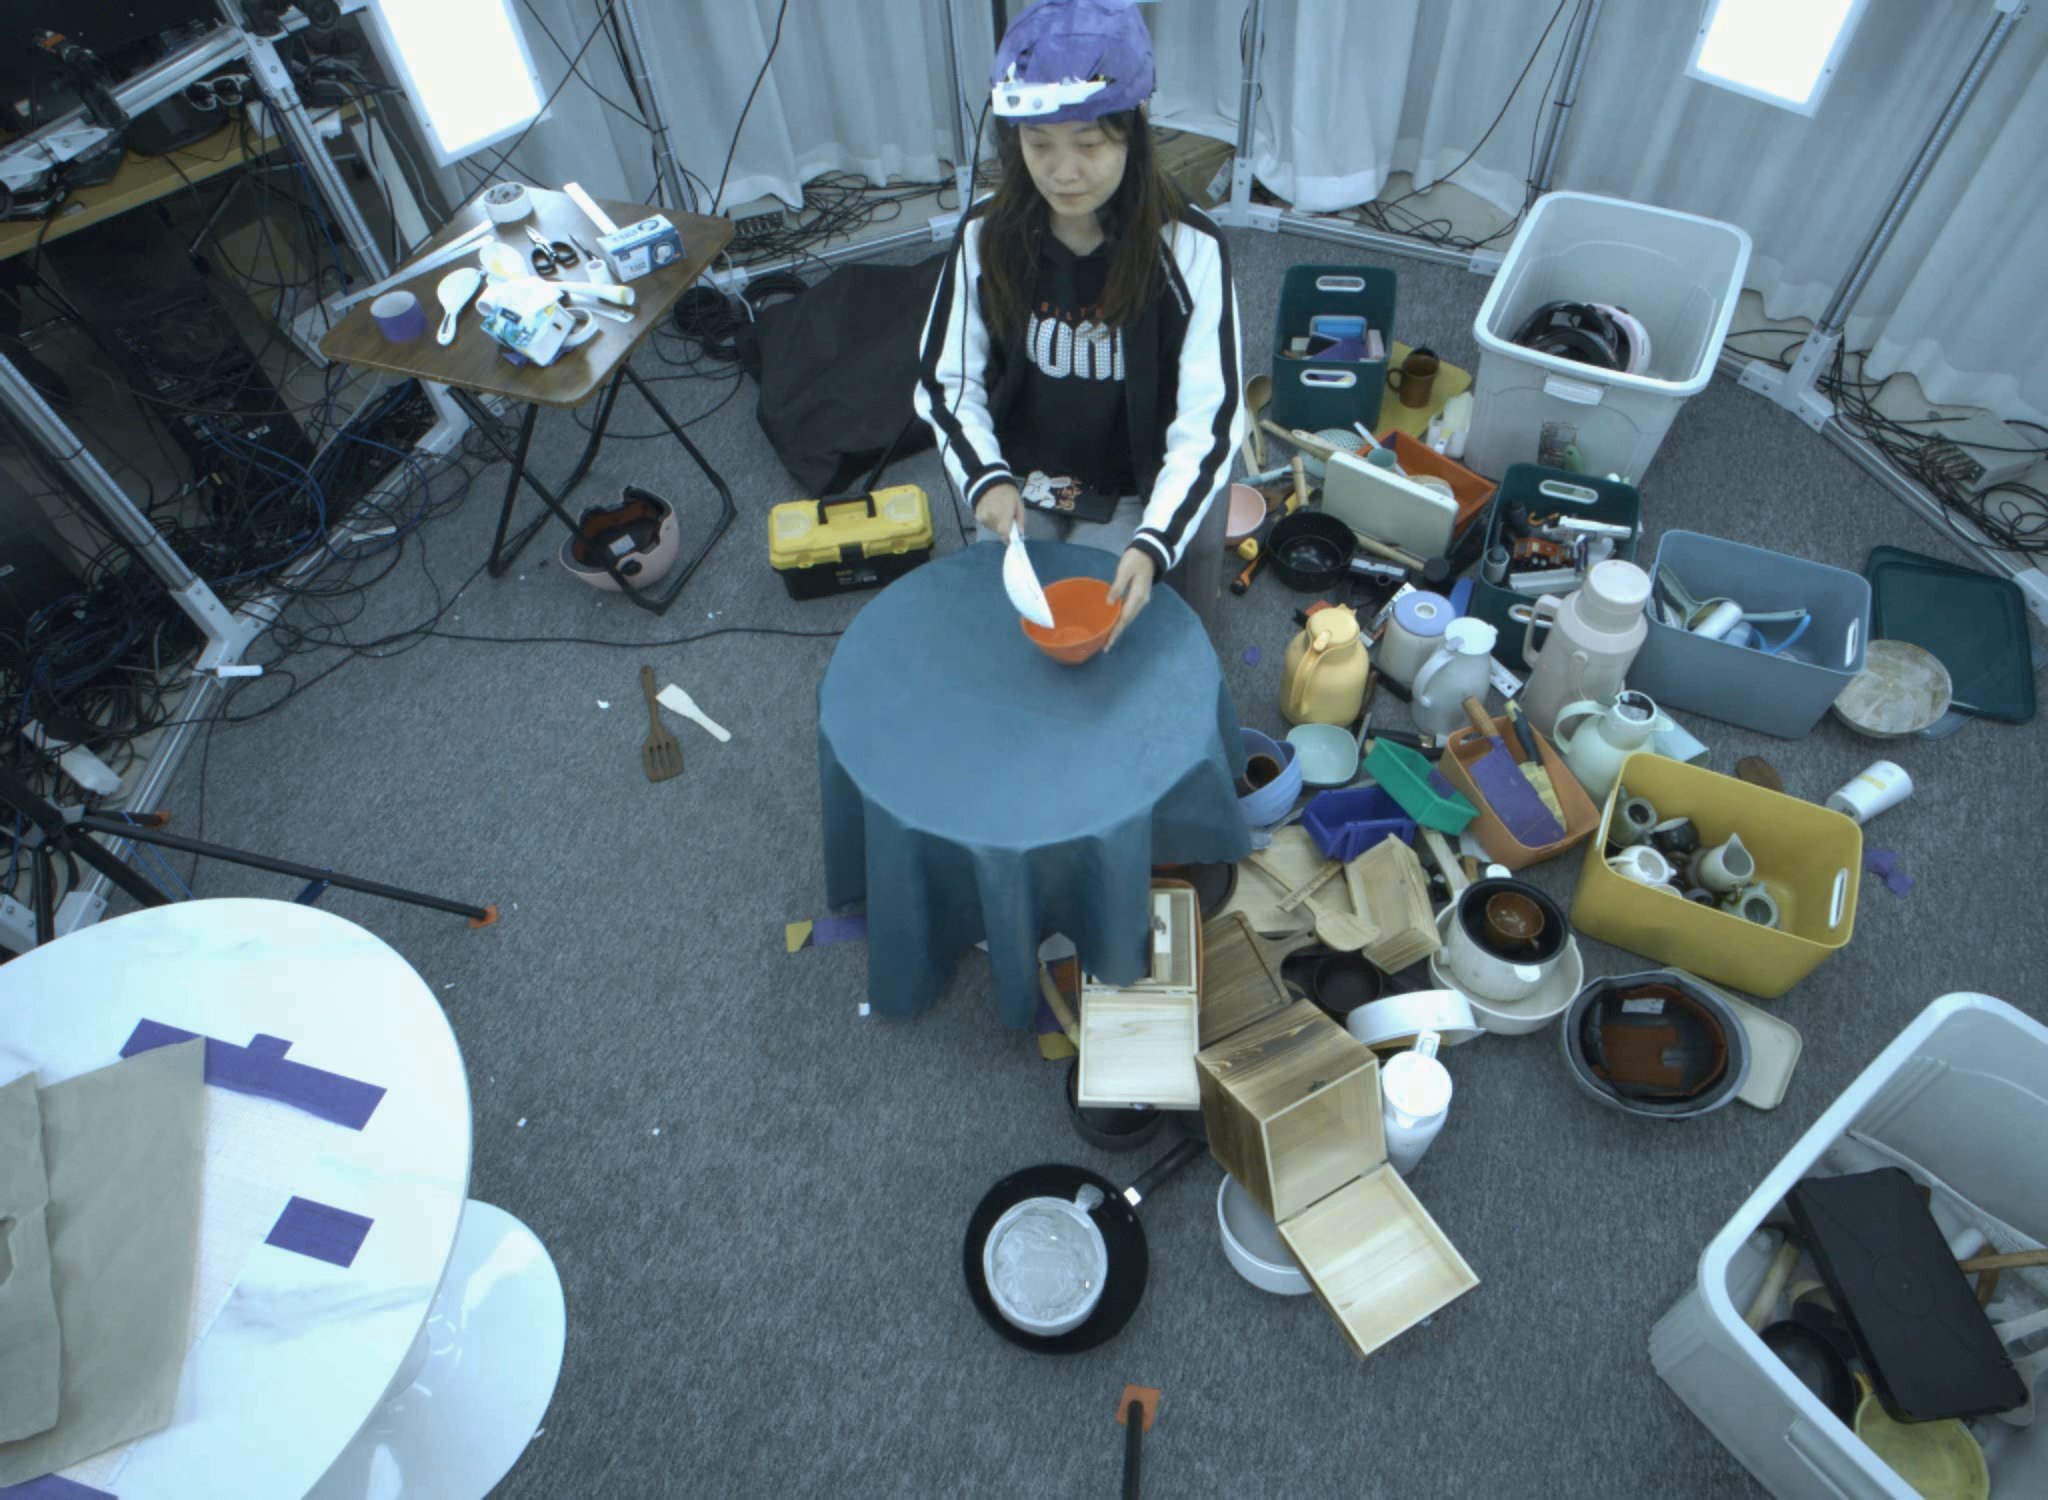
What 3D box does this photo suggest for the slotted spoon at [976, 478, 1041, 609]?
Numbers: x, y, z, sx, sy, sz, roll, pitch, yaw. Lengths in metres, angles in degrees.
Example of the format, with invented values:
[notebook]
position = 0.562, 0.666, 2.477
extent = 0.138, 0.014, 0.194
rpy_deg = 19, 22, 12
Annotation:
[slotted spoon]
position = -0.027, -0.320, 1.818
extent = 0.045, 0.139, 0.346
rpy_deg = -30, 34, 26

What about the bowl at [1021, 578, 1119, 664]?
[bowl]
position = 0.073, -0.179, 1.830
extent = 0.147, 0.106, 0.146
rpy_deg = -4, 56, 7
